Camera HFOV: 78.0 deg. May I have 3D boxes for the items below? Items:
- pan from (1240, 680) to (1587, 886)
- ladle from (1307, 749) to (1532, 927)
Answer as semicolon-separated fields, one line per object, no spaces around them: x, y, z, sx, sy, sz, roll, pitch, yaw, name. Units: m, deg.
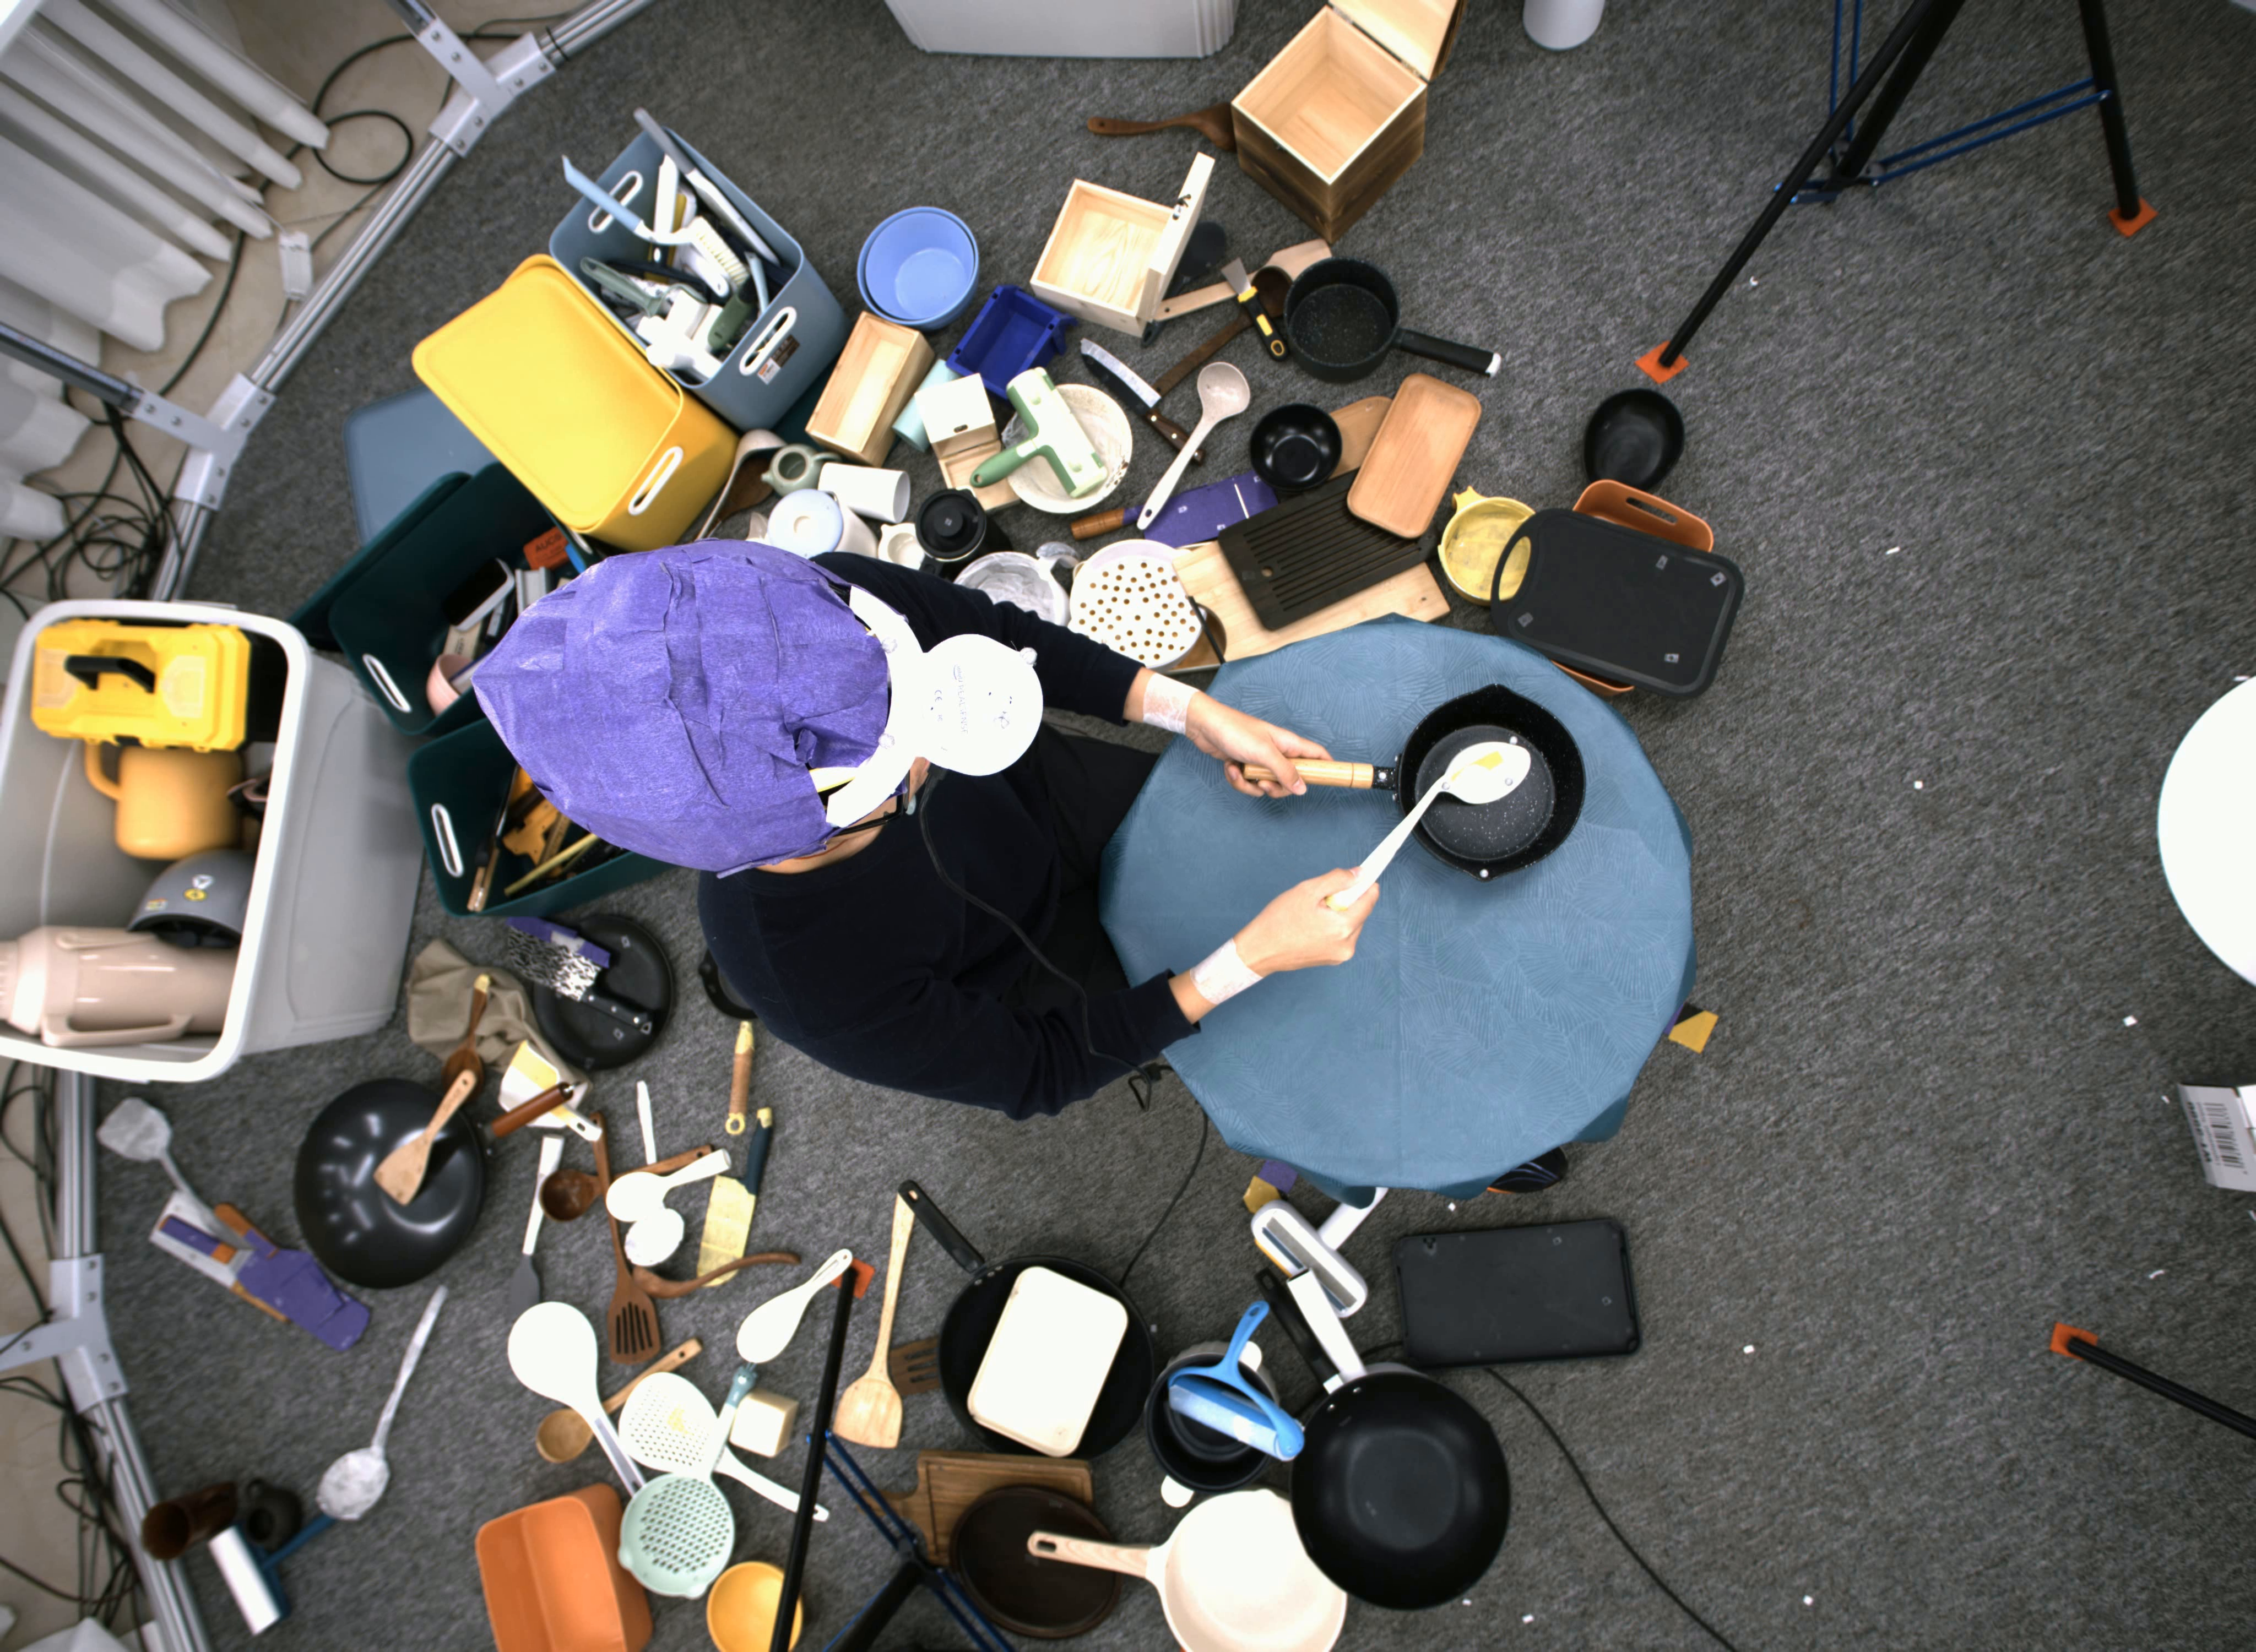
0.288;-0.046;1.408;0.344;0.108;0.207;3;88;9;pan
0.291;0.012;1.363;0.069;0.092;0.287;42;61;14;ladle
